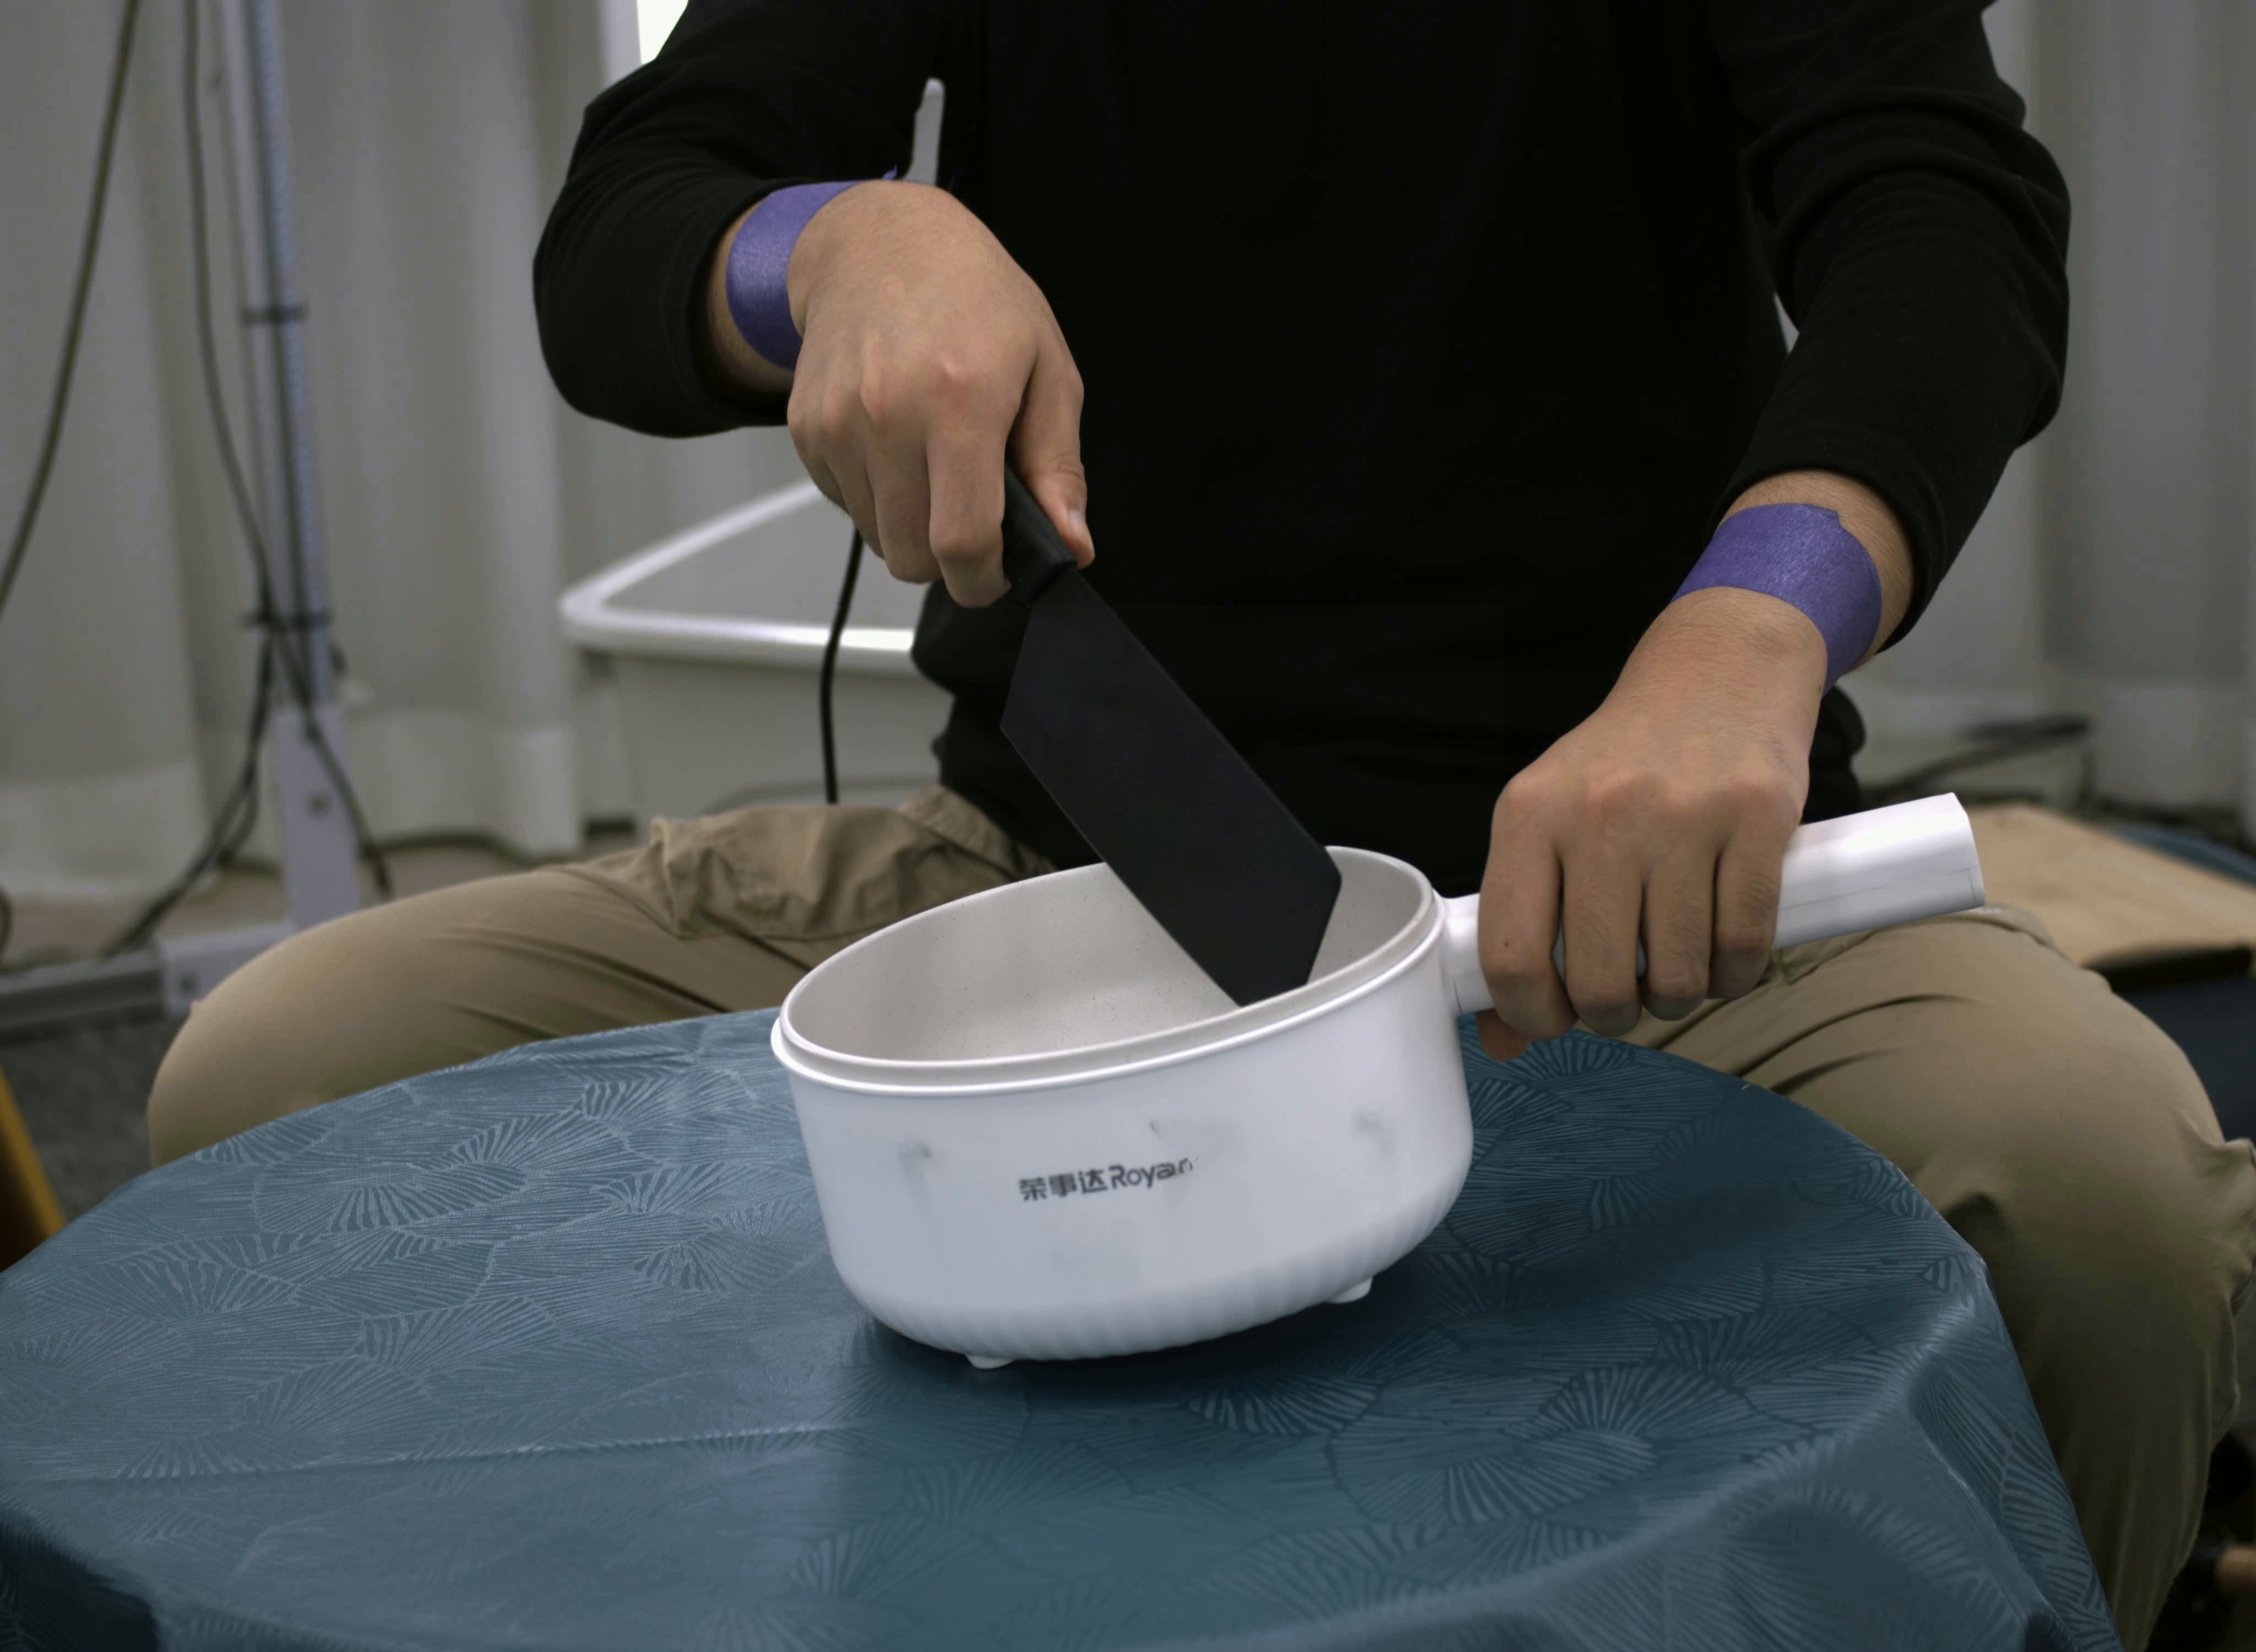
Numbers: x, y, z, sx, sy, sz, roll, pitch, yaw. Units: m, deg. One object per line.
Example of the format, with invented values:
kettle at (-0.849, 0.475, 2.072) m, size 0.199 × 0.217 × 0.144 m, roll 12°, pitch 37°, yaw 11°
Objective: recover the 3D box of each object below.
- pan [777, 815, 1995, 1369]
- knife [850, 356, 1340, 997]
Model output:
pan at (0.079, 0.073, 1.603) m, size 0.354 × 0.102 × 0.202 m, roll -9°, pitch 14°, yaw 3°
knife at (-0.015, -0.048, 1.642) m, size 0.021 × 0.080 × 0.307 m, roll -1°, pitch 38°, yaw -32°
